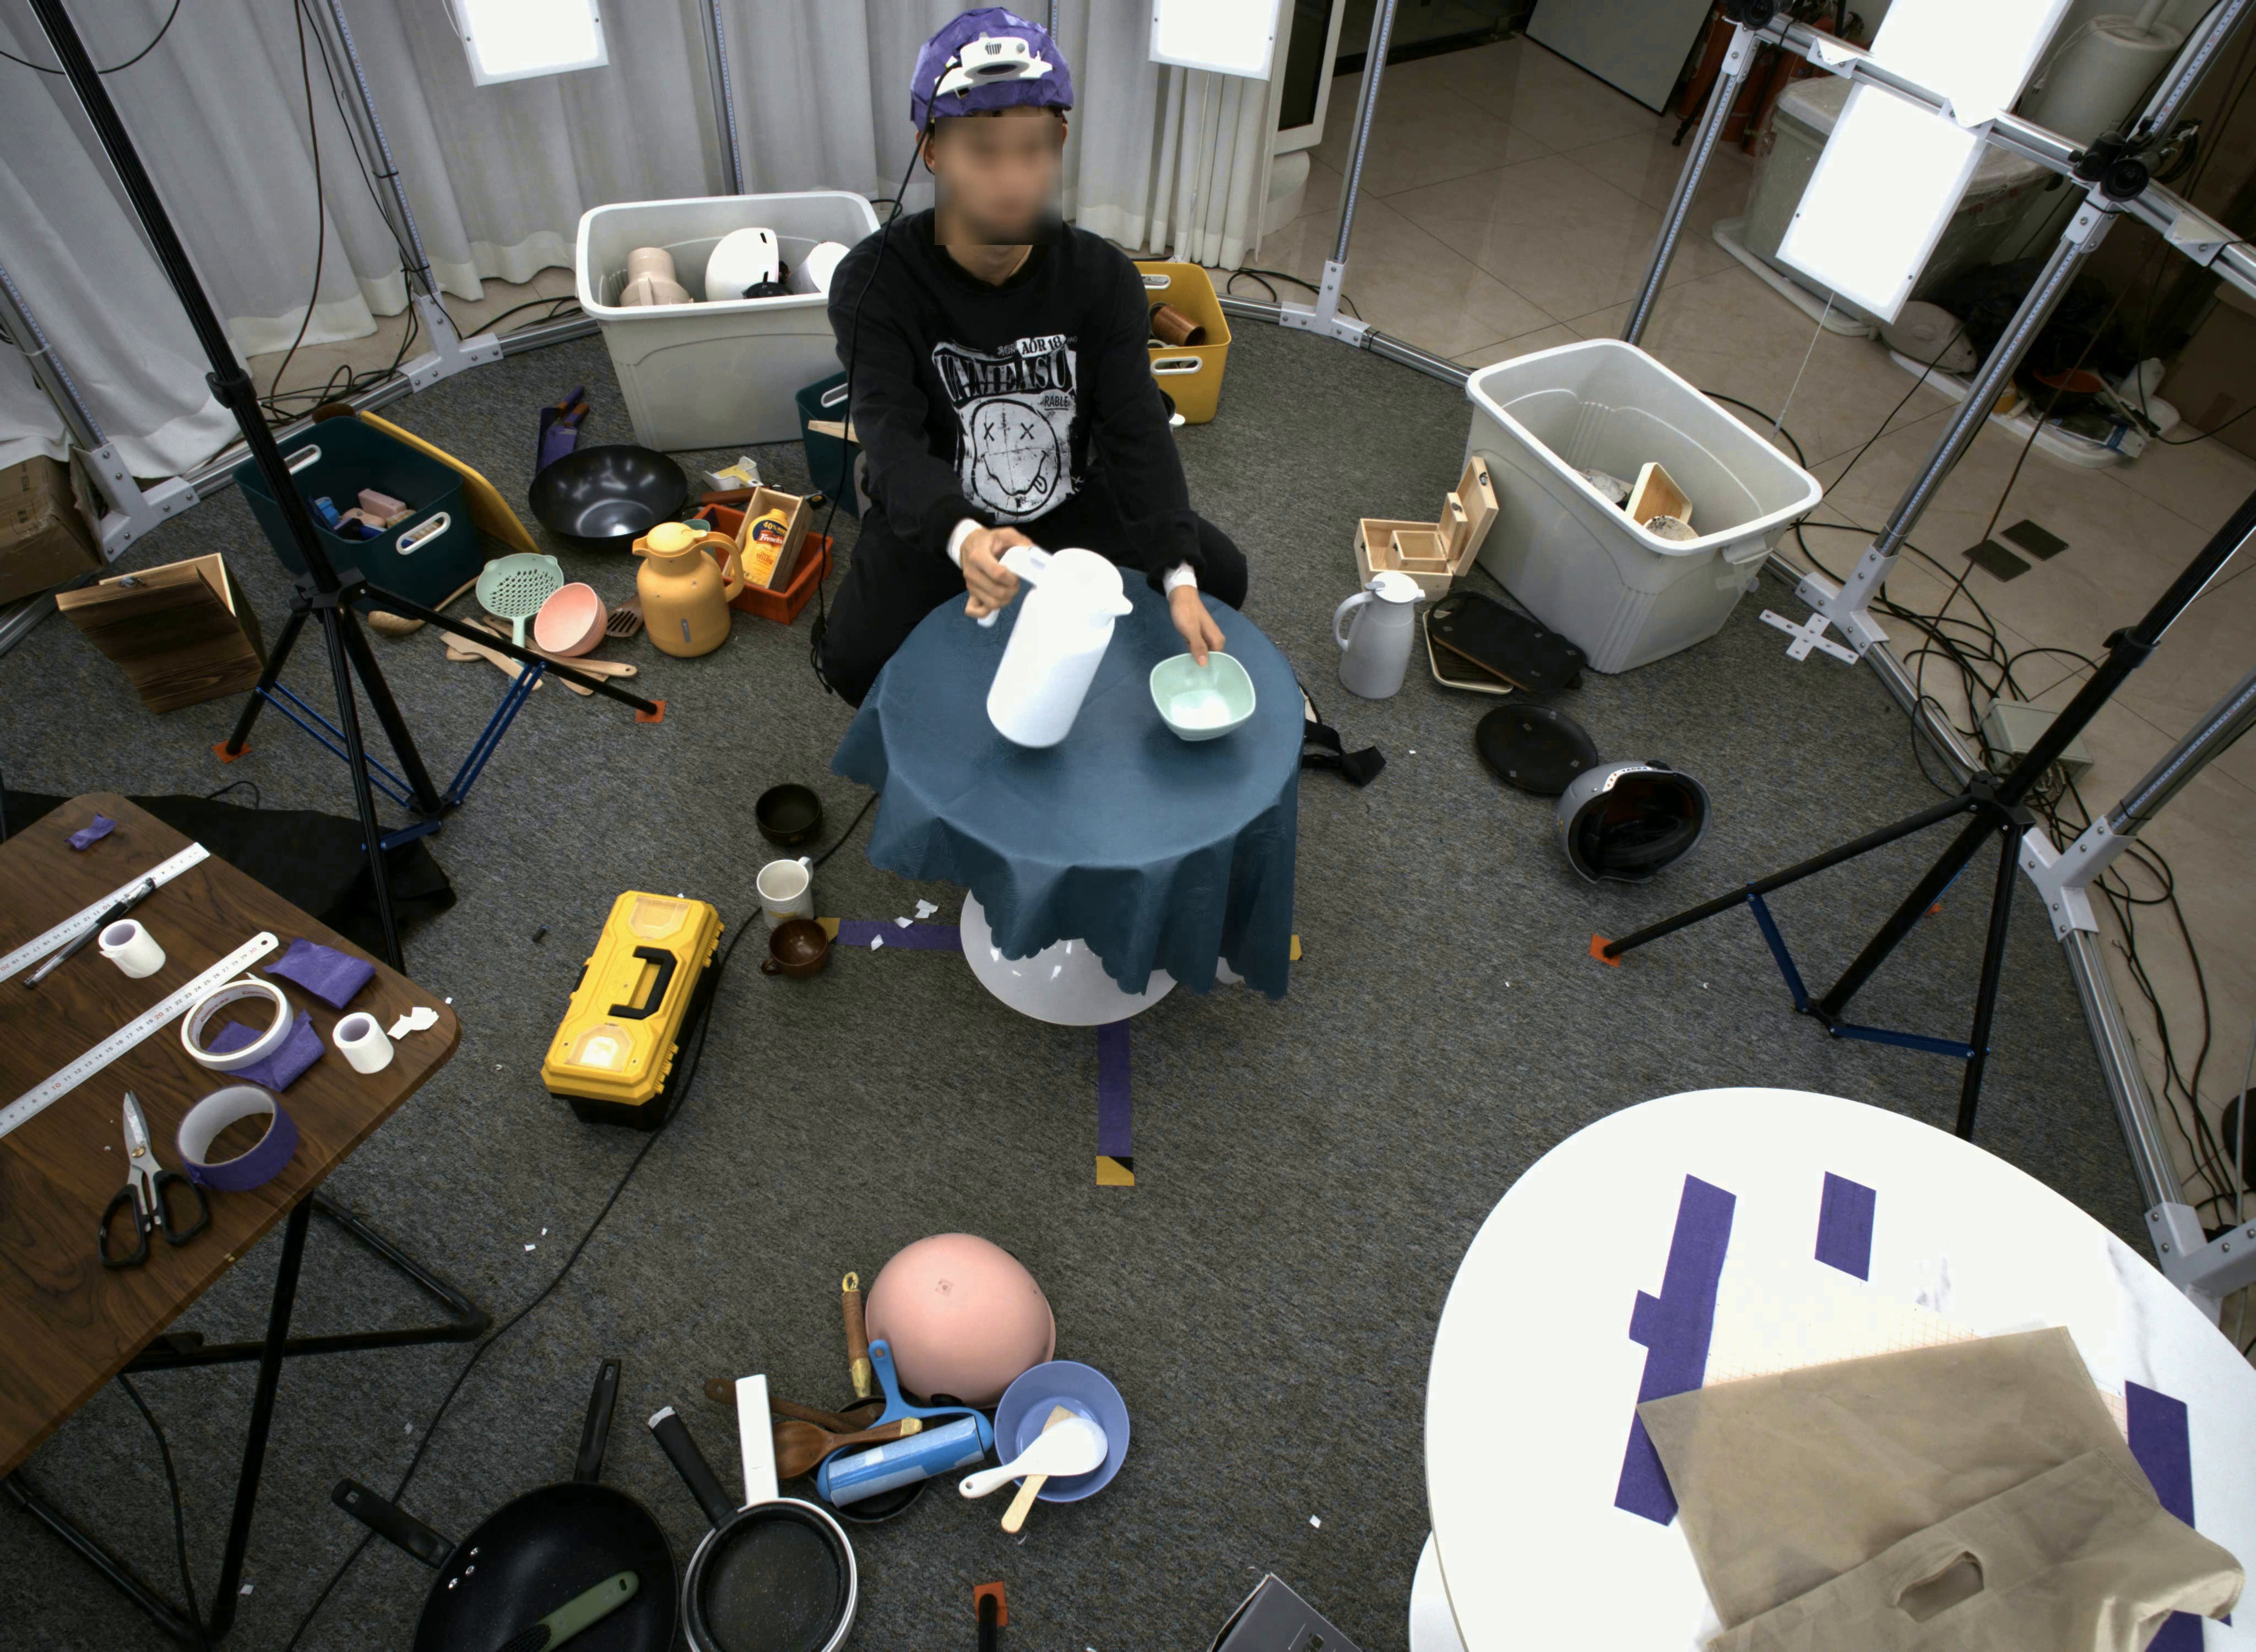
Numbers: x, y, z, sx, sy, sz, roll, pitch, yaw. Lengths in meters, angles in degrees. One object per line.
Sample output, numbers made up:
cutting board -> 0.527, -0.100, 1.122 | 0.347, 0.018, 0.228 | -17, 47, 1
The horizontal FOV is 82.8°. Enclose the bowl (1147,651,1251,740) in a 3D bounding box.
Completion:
bowl -> 0.096, -0.170, 1.762 | 0.151, 0.057, 0.155 | 0, 52, -1

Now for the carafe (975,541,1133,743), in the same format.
carafe -> -0.112, -0.233, 1.623 | 0.172, 0.264, 0.126 | 28, 52, -2
